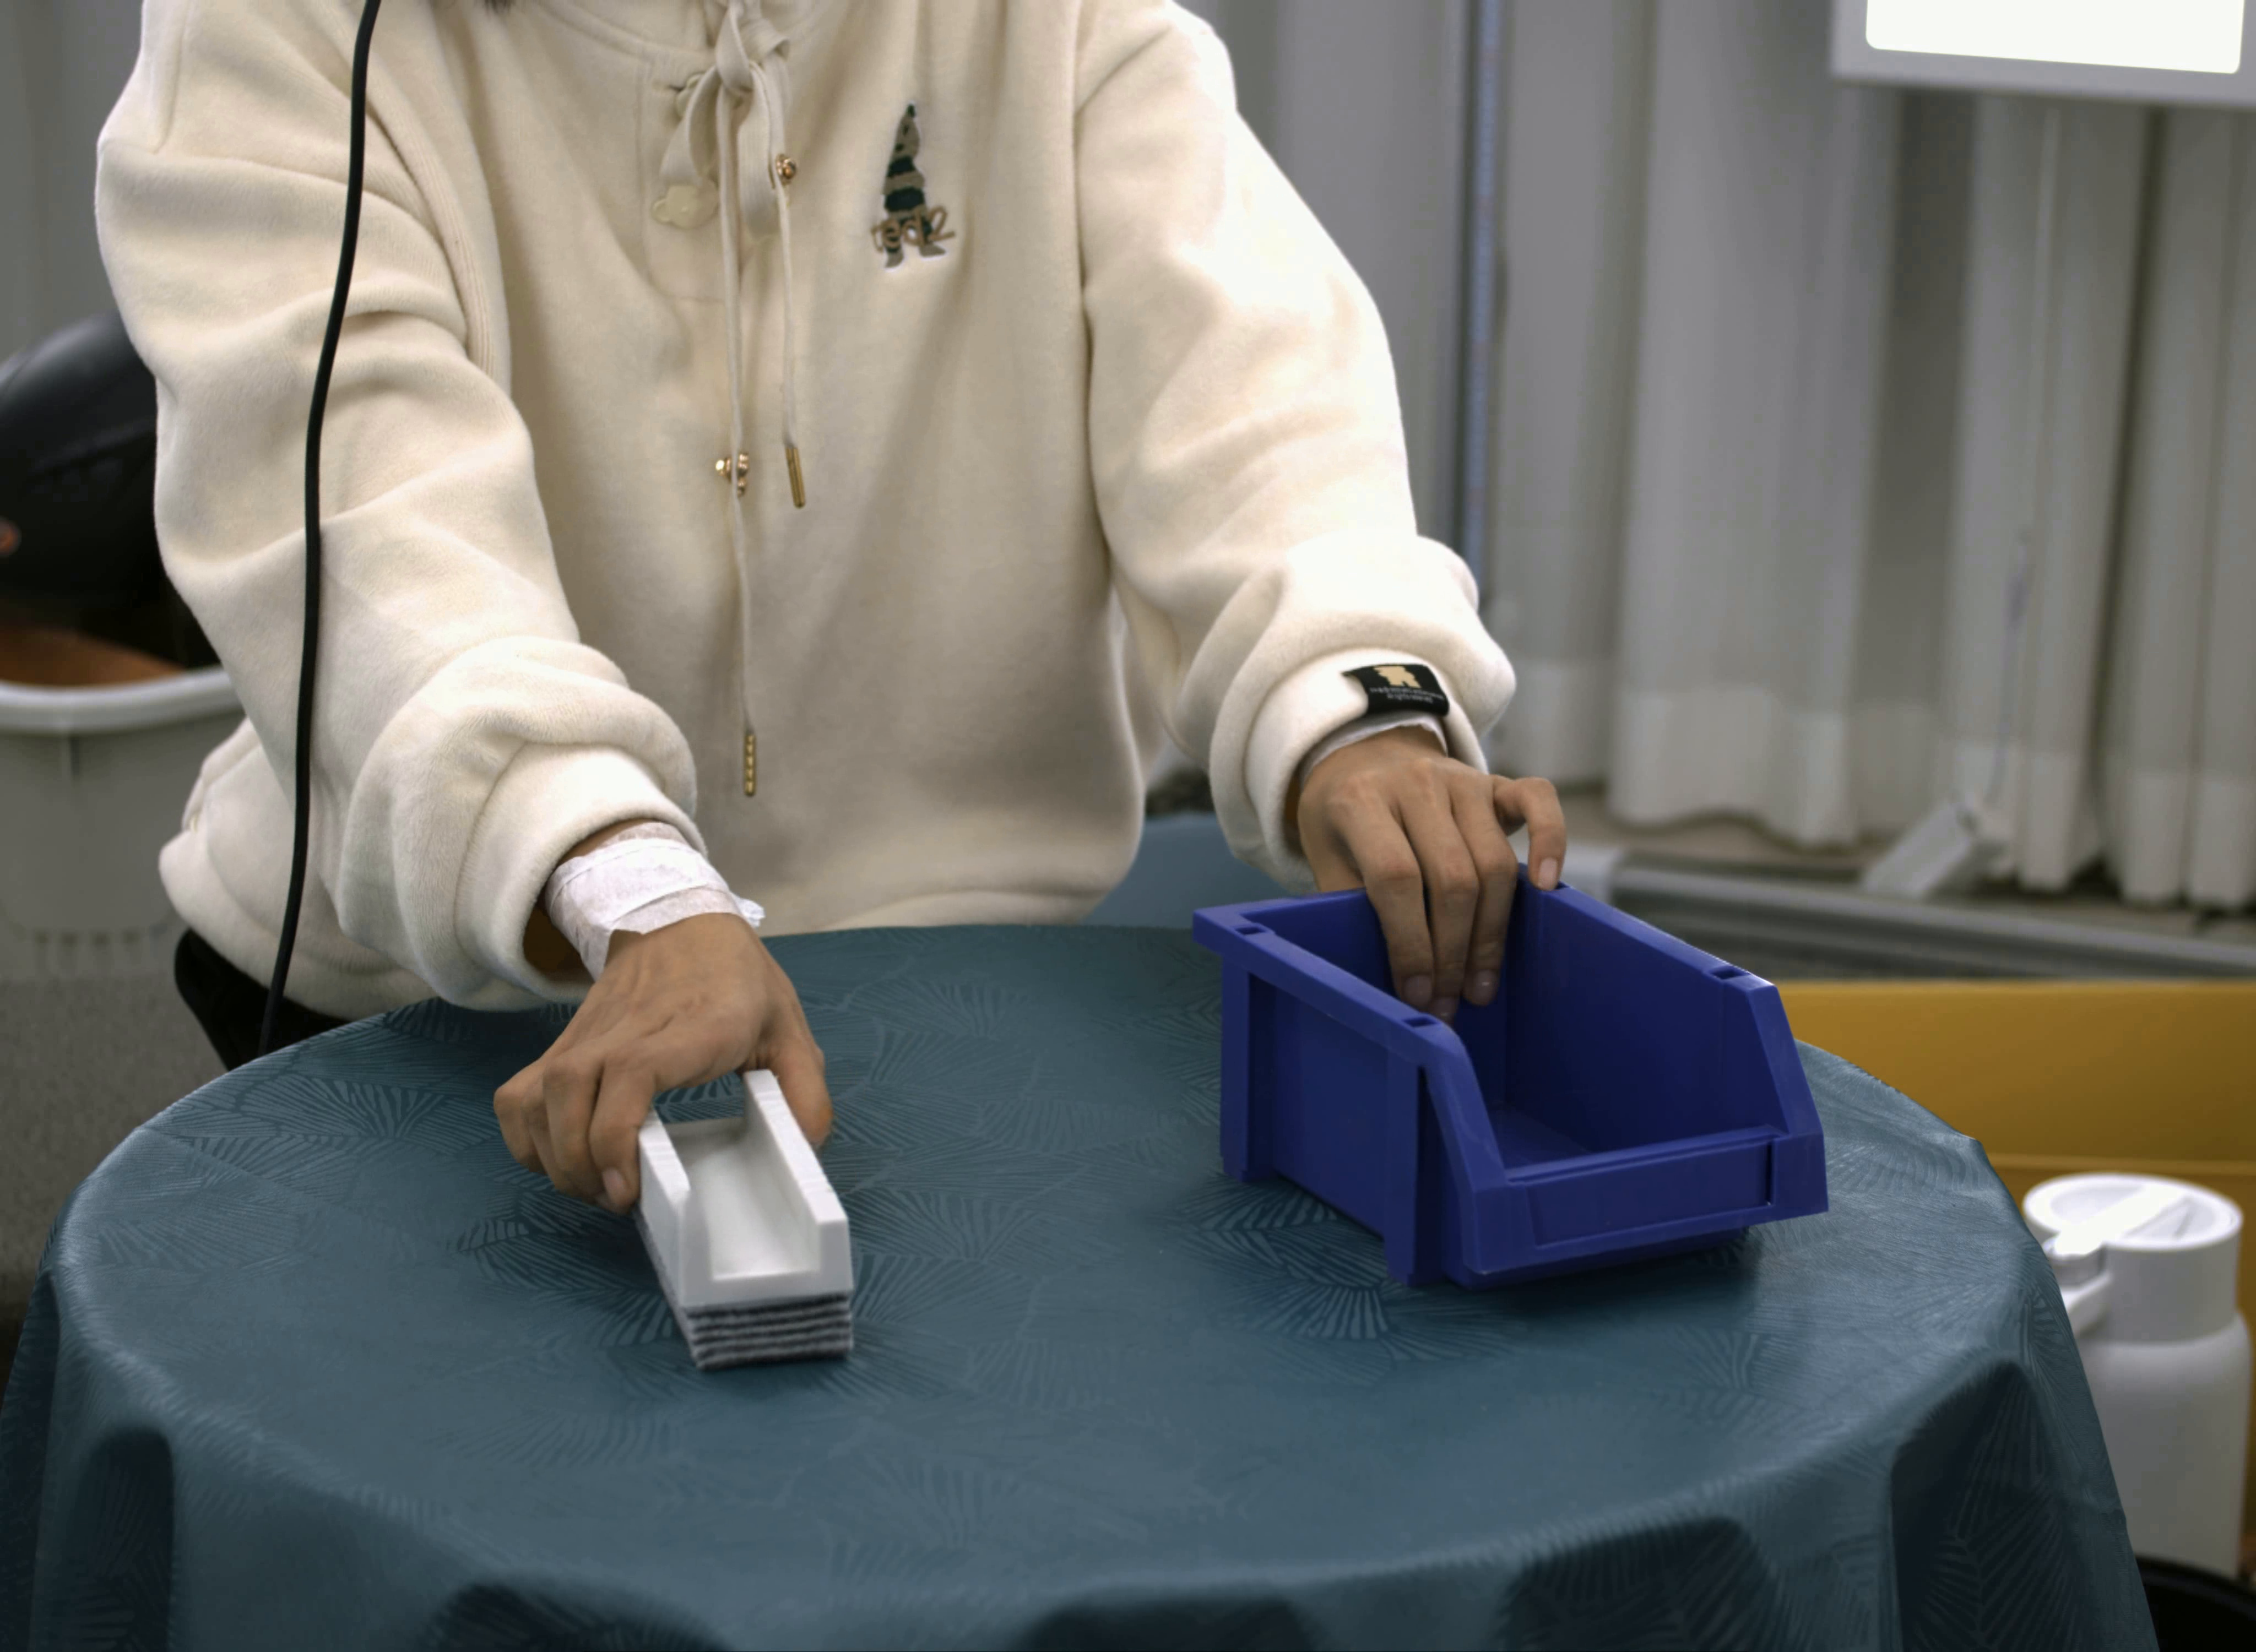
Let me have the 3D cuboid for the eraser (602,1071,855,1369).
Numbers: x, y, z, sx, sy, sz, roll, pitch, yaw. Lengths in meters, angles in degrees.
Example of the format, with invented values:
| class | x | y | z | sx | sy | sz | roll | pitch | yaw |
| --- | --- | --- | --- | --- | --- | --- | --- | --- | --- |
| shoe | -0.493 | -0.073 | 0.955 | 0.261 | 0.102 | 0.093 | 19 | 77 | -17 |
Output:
| class | x | y | z | sx | sy | sz | roll | pitch | yaw |
| --- | --- | --- | --- | --- | --- | --- | --- | --- | --- |
| eraser | -0.117 | 0.113 | 1.526 | 0.050 | 0.047 | 0.133 | -7 | 18 | -14 |

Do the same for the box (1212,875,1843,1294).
| class | x | y | z | sx | sy | sz | roll | pitch | yaw |
| --- | --- | --- | --- | --- | --- | --- | --- | --- | --- |
| box | 0.120 | 0.080 | 1.589 | 0.125 | 0.082 | 0.177 | -7 | 15 | -25 |
